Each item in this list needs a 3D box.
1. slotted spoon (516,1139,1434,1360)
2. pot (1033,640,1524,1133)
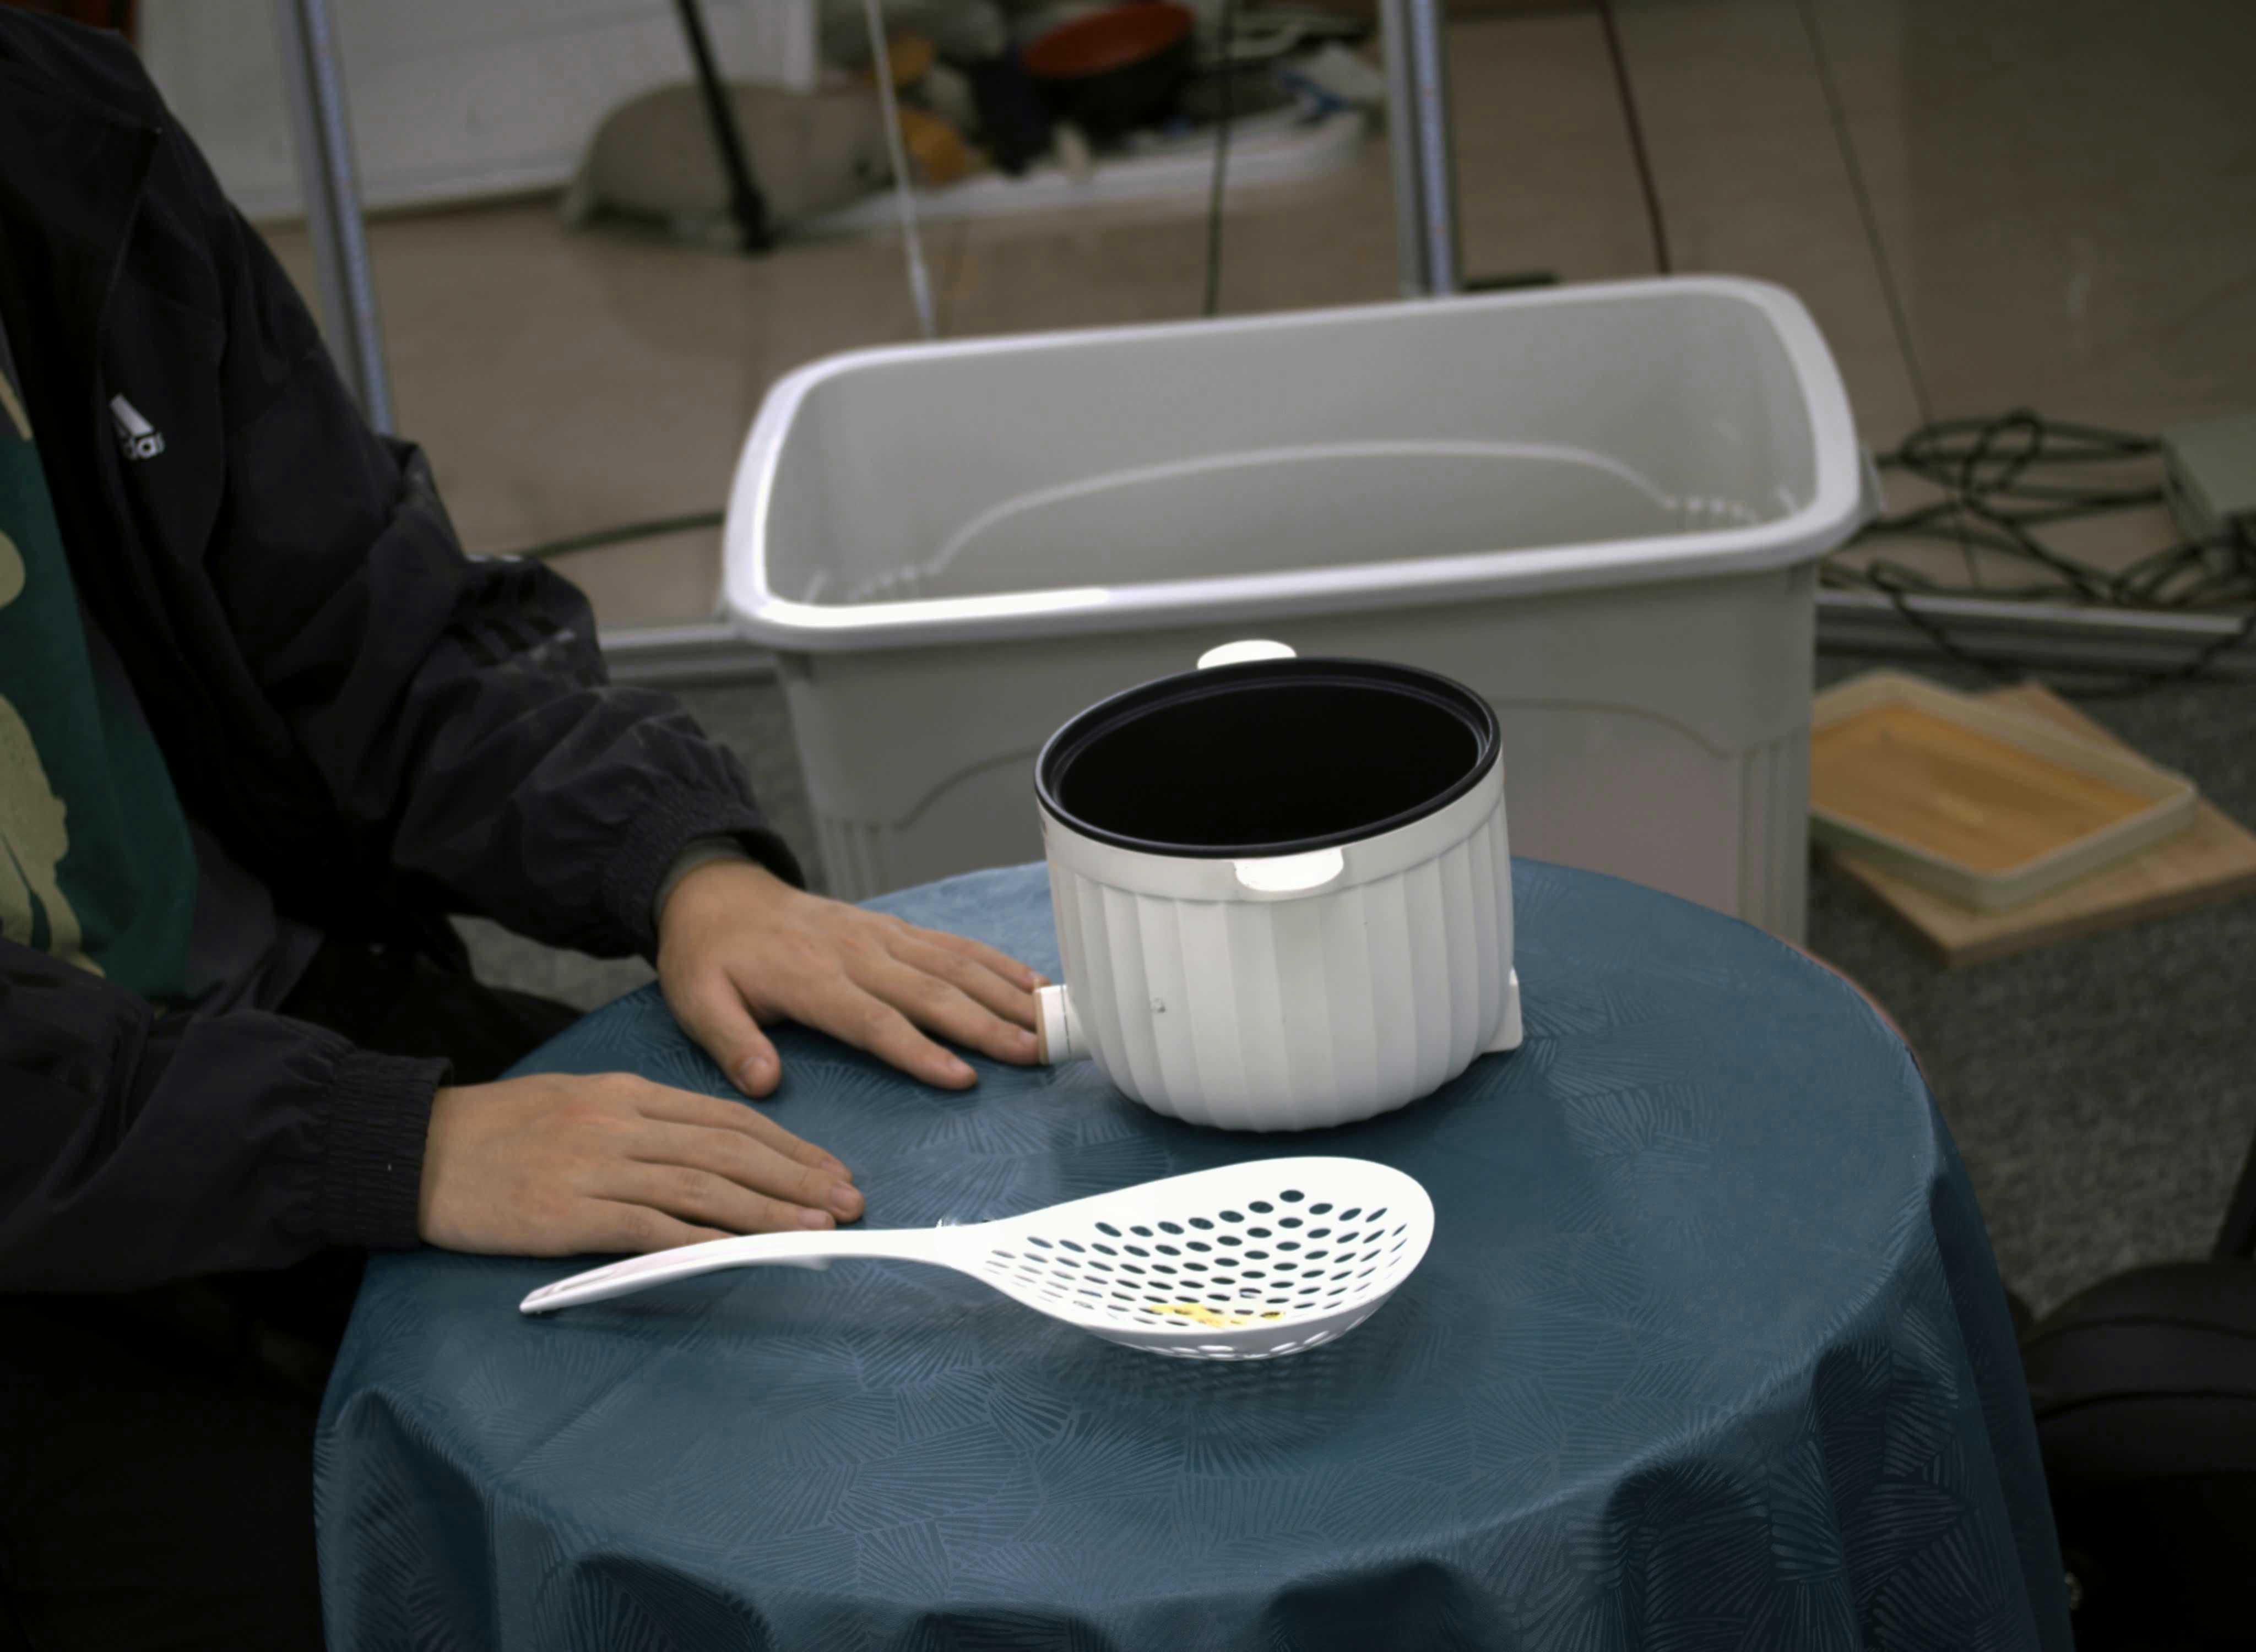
[{"bbox_3d":[-0.059,0.162,2.060,0.347,0.051,0.135,1,26,15],"label":"slotted spoon"},{"bbox_3d":[0.056,0.032,2.198,0.190,0.145,0.237,-5,24,-2],"label":"pot"}]
